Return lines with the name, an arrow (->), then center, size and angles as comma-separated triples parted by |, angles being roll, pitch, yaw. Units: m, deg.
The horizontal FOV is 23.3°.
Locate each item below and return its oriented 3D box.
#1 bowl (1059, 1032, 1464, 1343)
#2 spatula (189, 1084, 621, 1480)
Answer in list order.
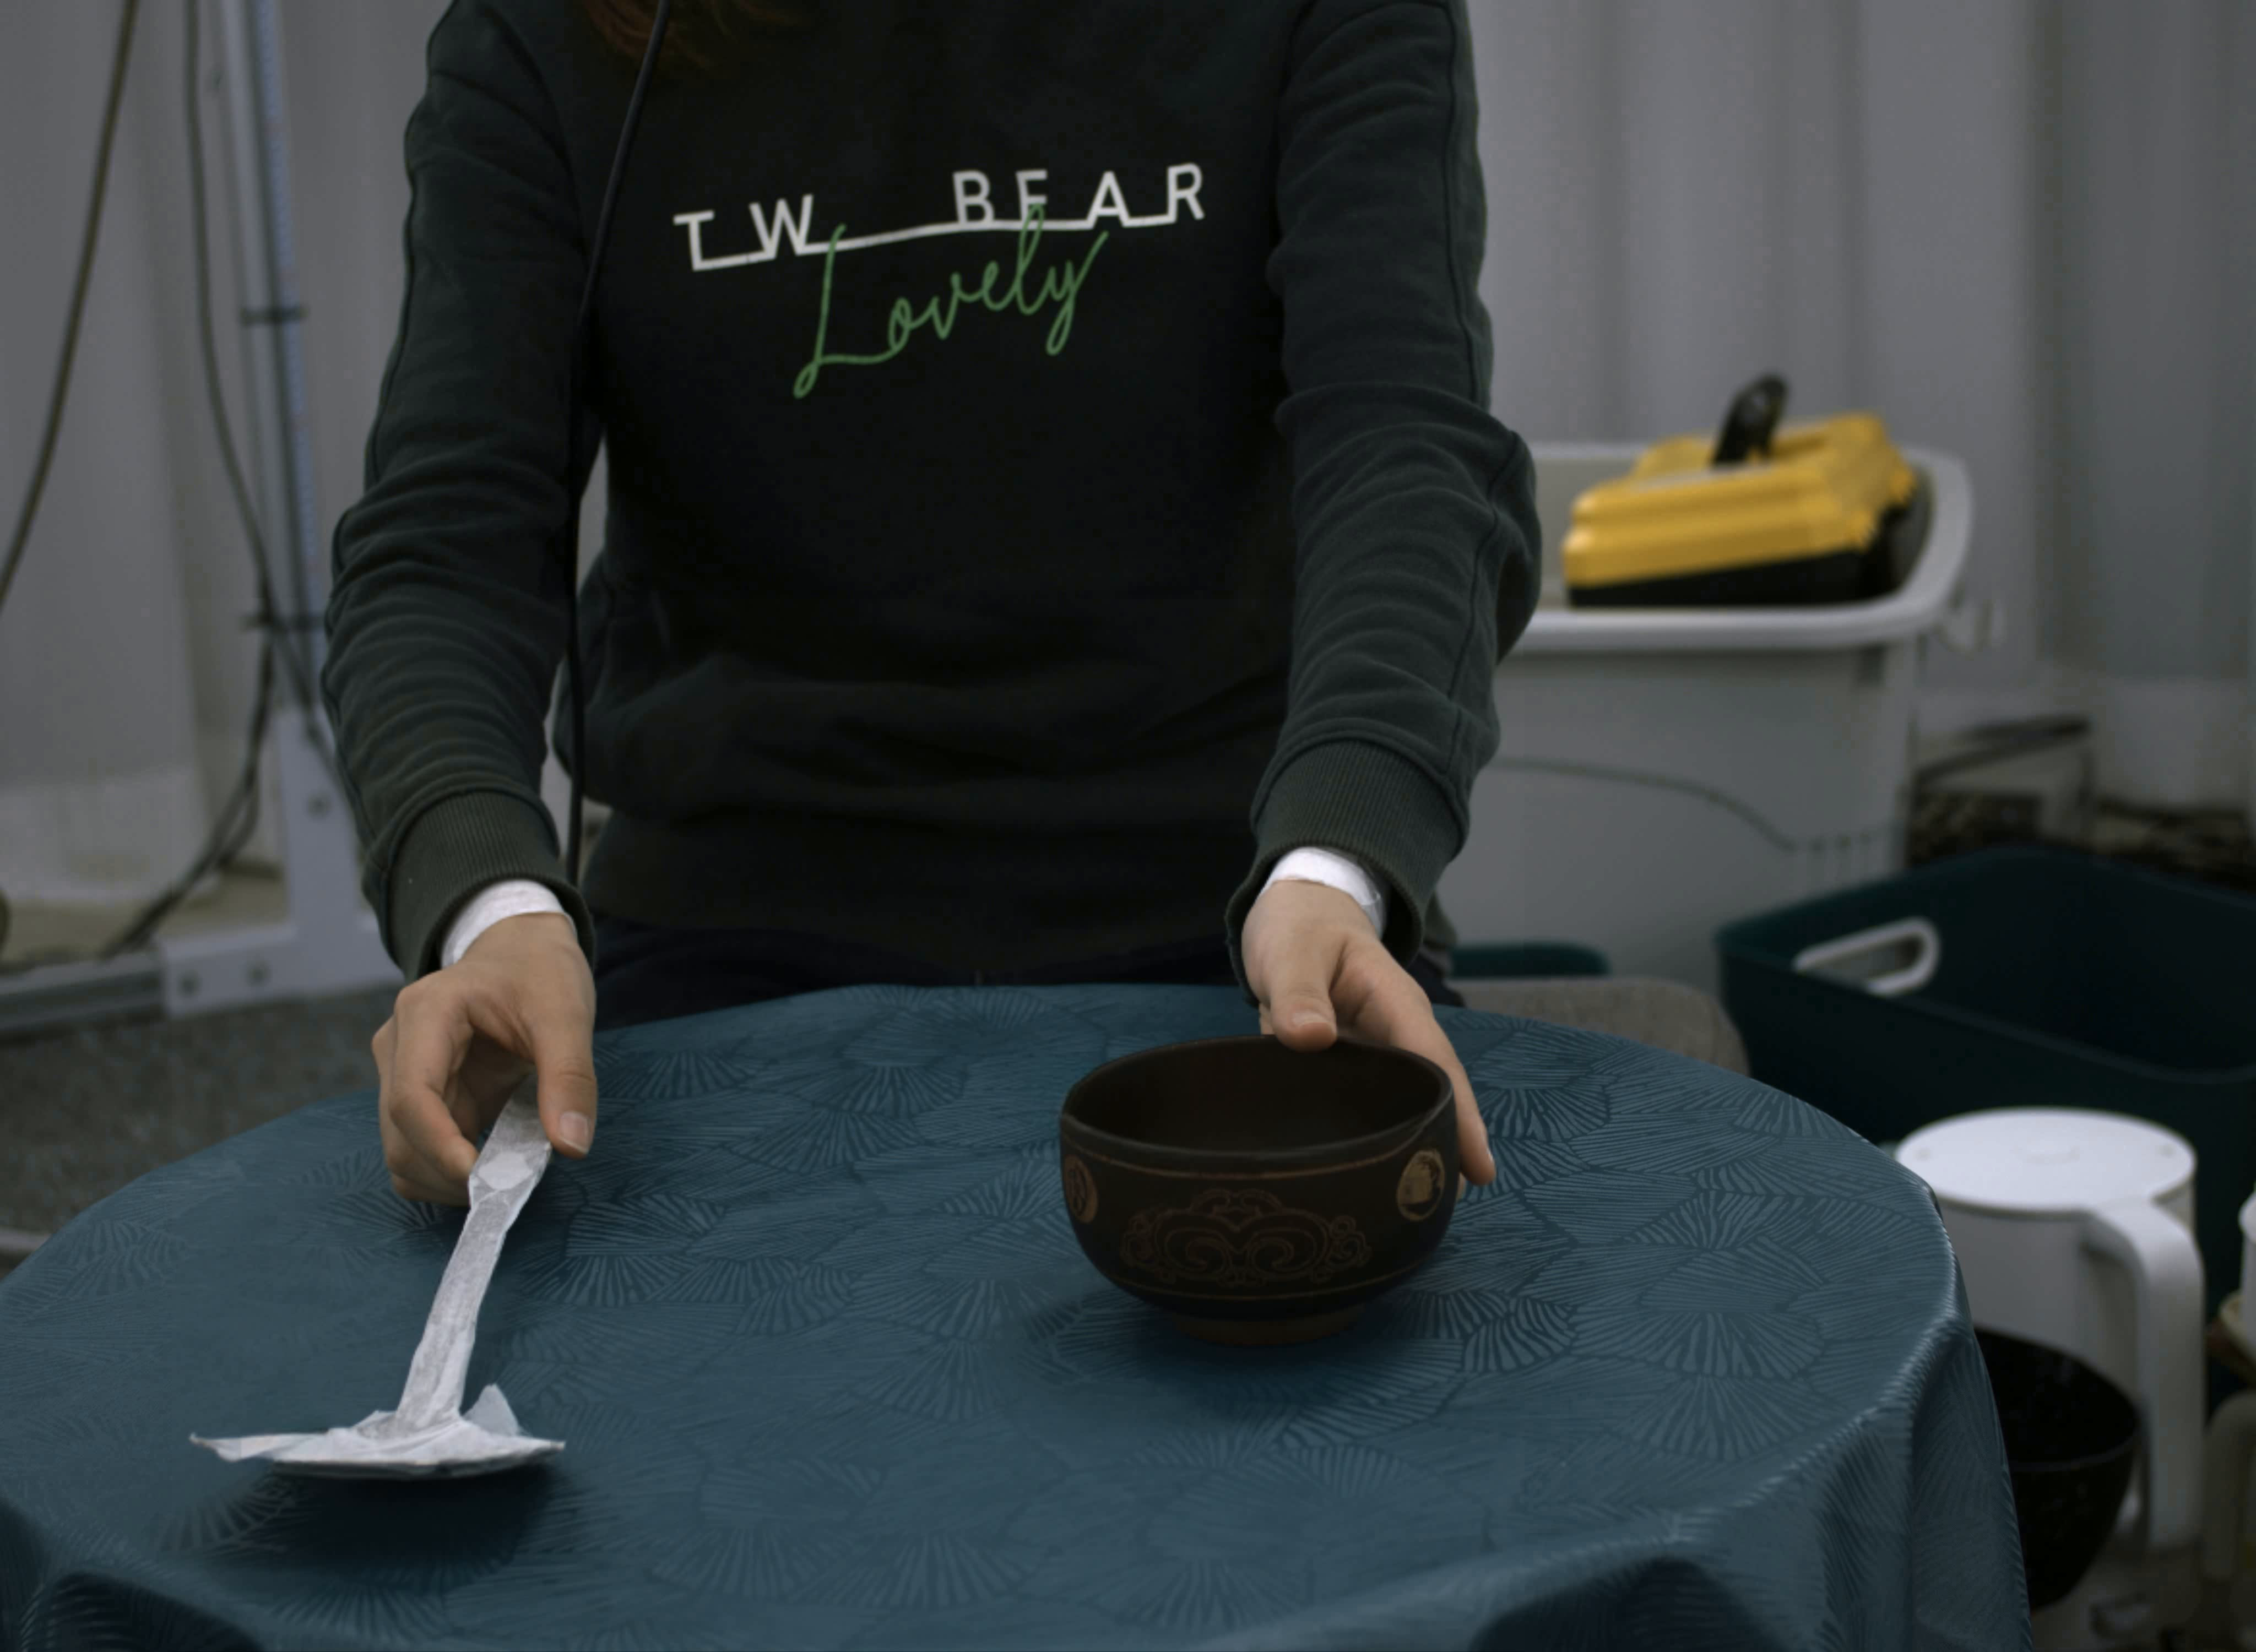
bowl -> 0.039, 0.109, 1.592 | 0.117, 0.069, 0.119 | -1, 14, 0
spatula -> -0.190, 0.126, 1.609 | 0.098, 0.044, 0.368 | -1, 19, 4
